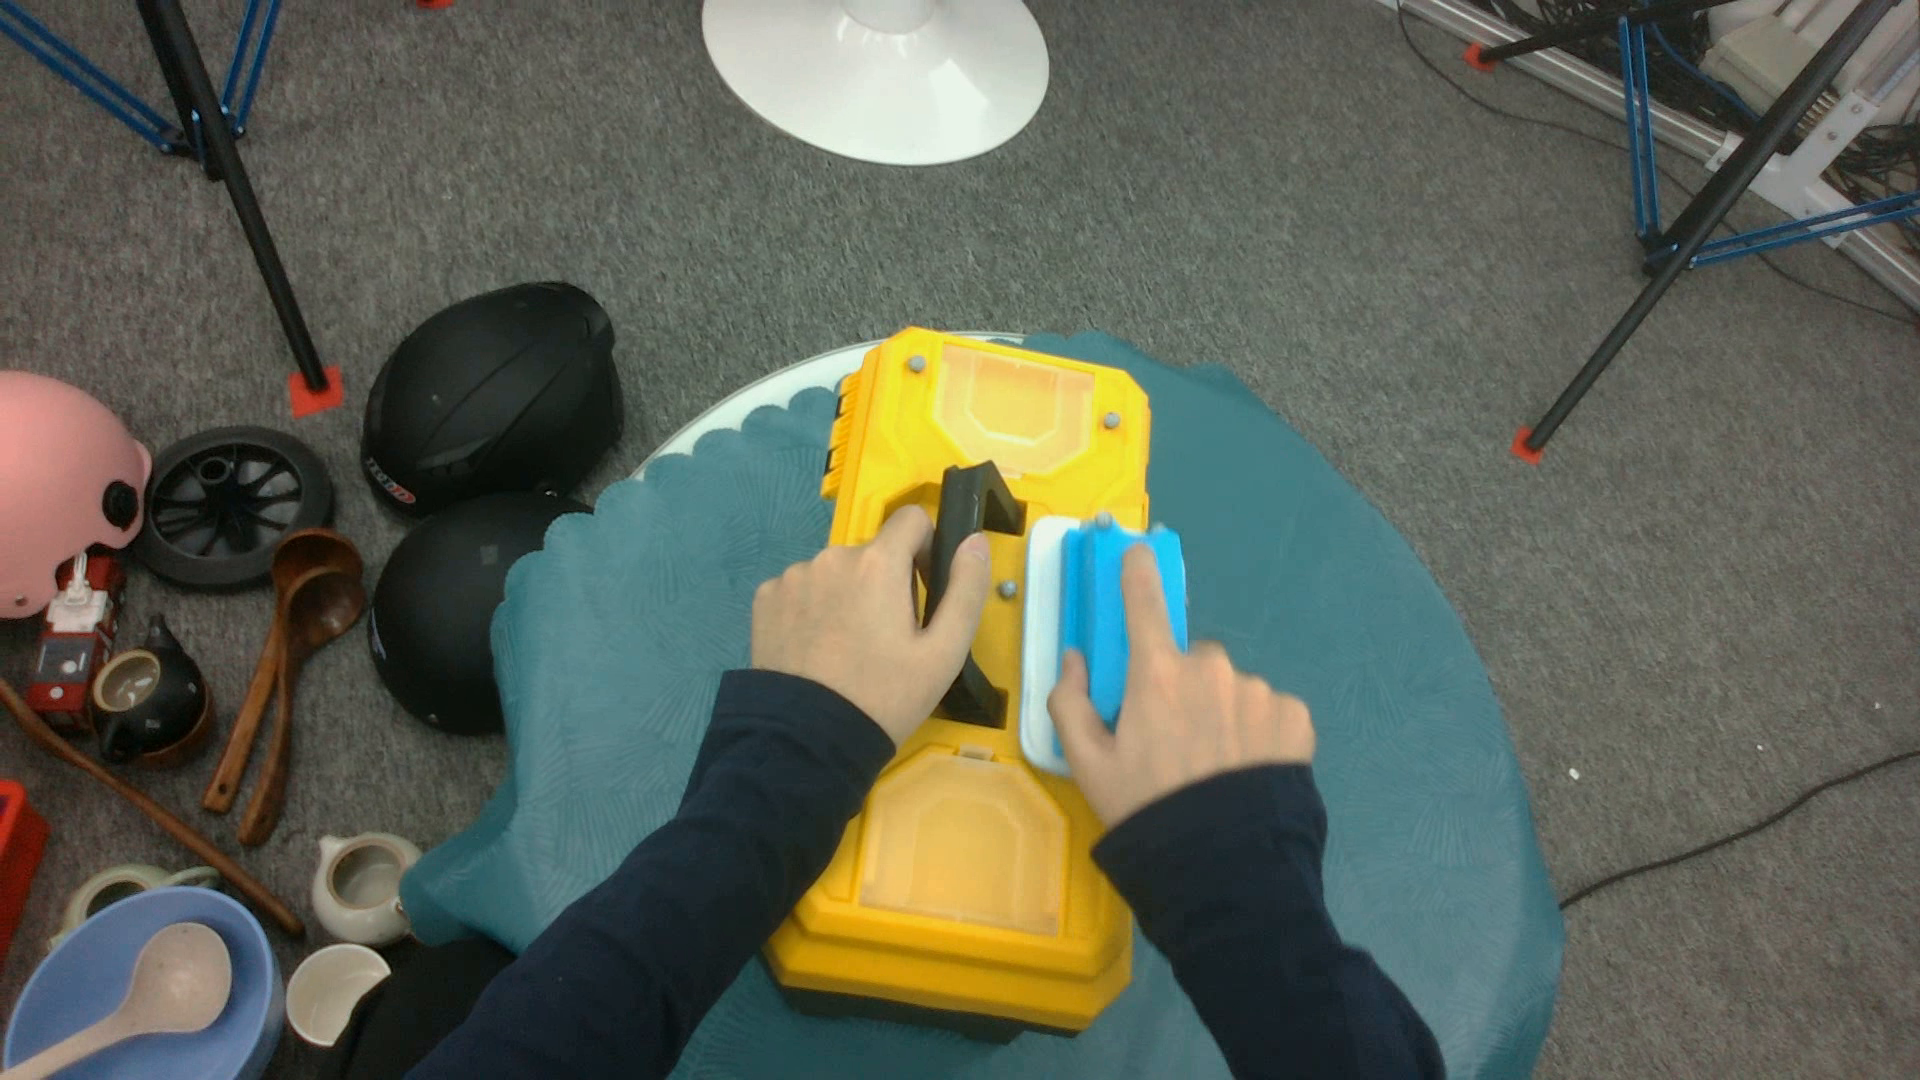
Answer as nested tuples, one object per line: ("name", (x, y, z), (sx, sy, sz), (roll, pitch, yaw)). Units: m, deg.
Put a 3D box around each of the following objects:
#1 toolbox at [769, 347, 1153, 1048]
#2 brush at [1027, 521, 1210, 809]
("toolbox", (0.005, 0.081, 0.733), (0.181, 0.172, 0.353), (10, 56, -5))
("brush", (0.078, 0.049, 0.634), (0.084, 0.055, 0.144), (10, 54, -6))
